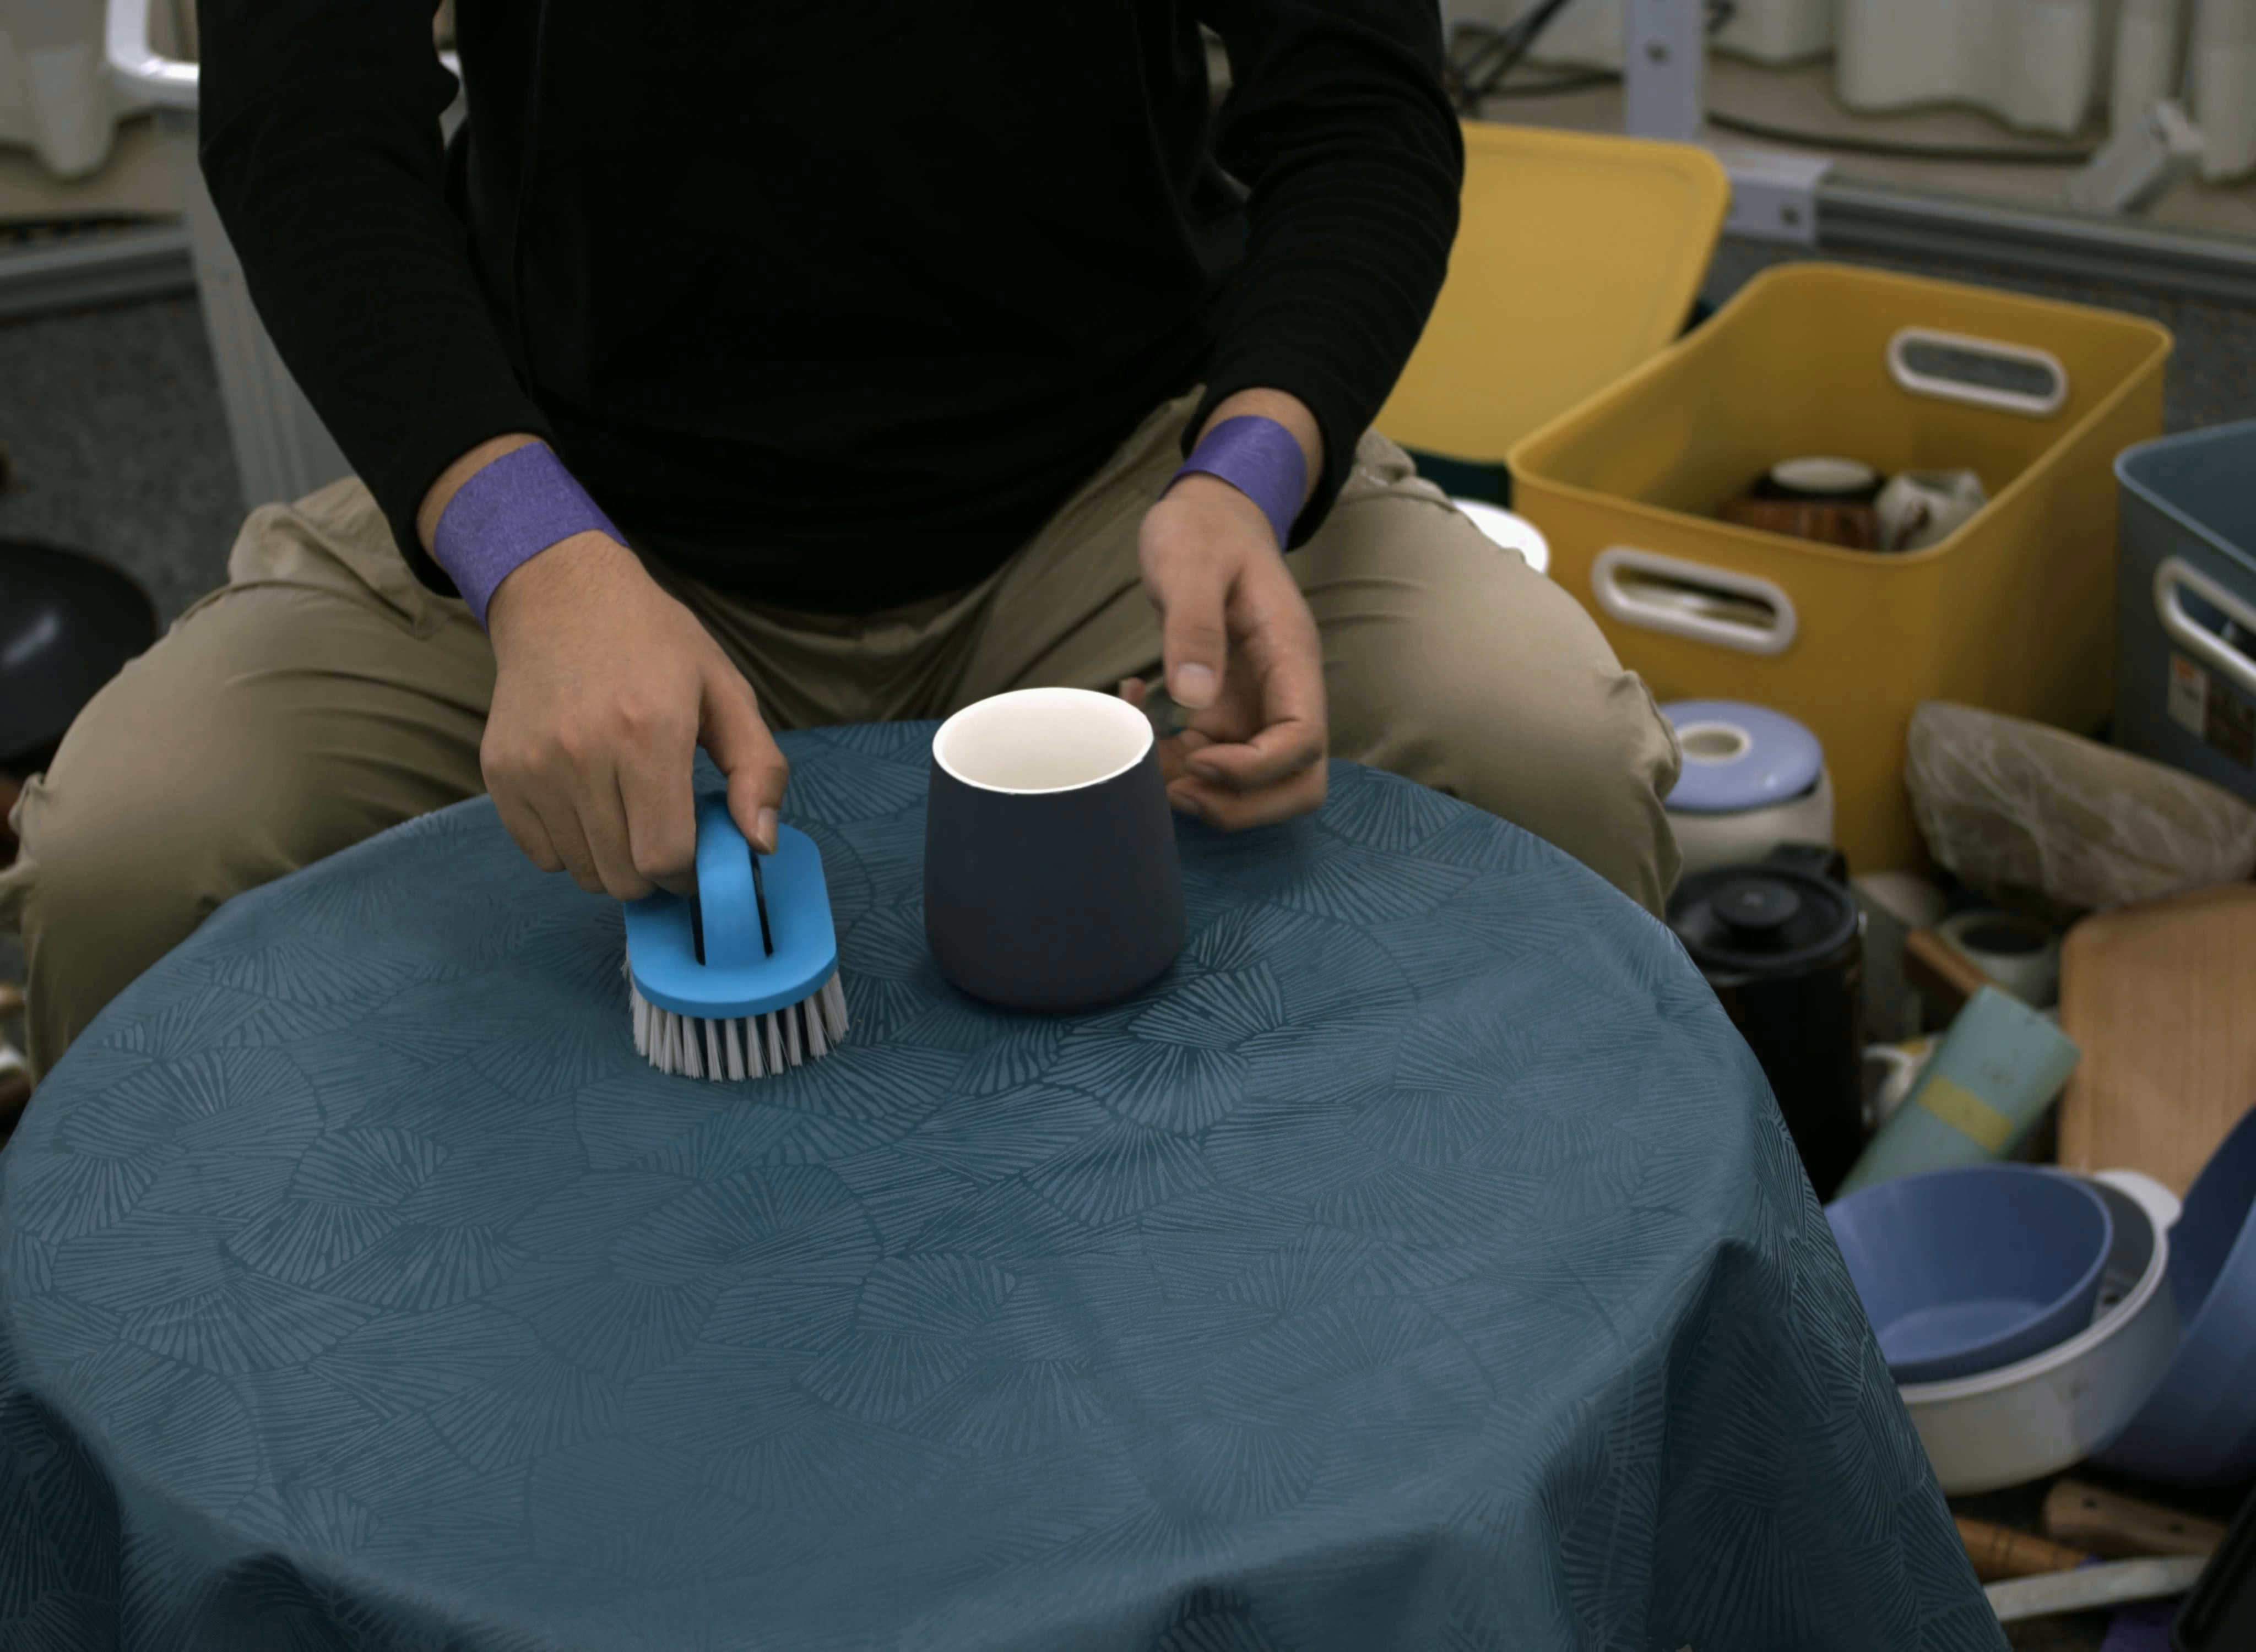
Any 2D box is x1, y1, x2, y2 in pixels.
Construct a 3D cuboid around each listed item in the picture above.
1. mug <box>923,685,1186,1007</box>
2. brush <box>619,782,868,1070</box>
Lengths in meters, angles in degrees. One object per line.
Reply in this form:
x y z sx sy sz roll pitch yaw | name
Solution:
-0.027 0.000 1.997 0.093 0.089 0.125 -2 29 0 | mug
-0.139 0.027 1.987 0.084 0.063 0.143 -9 27 -2 | brush
